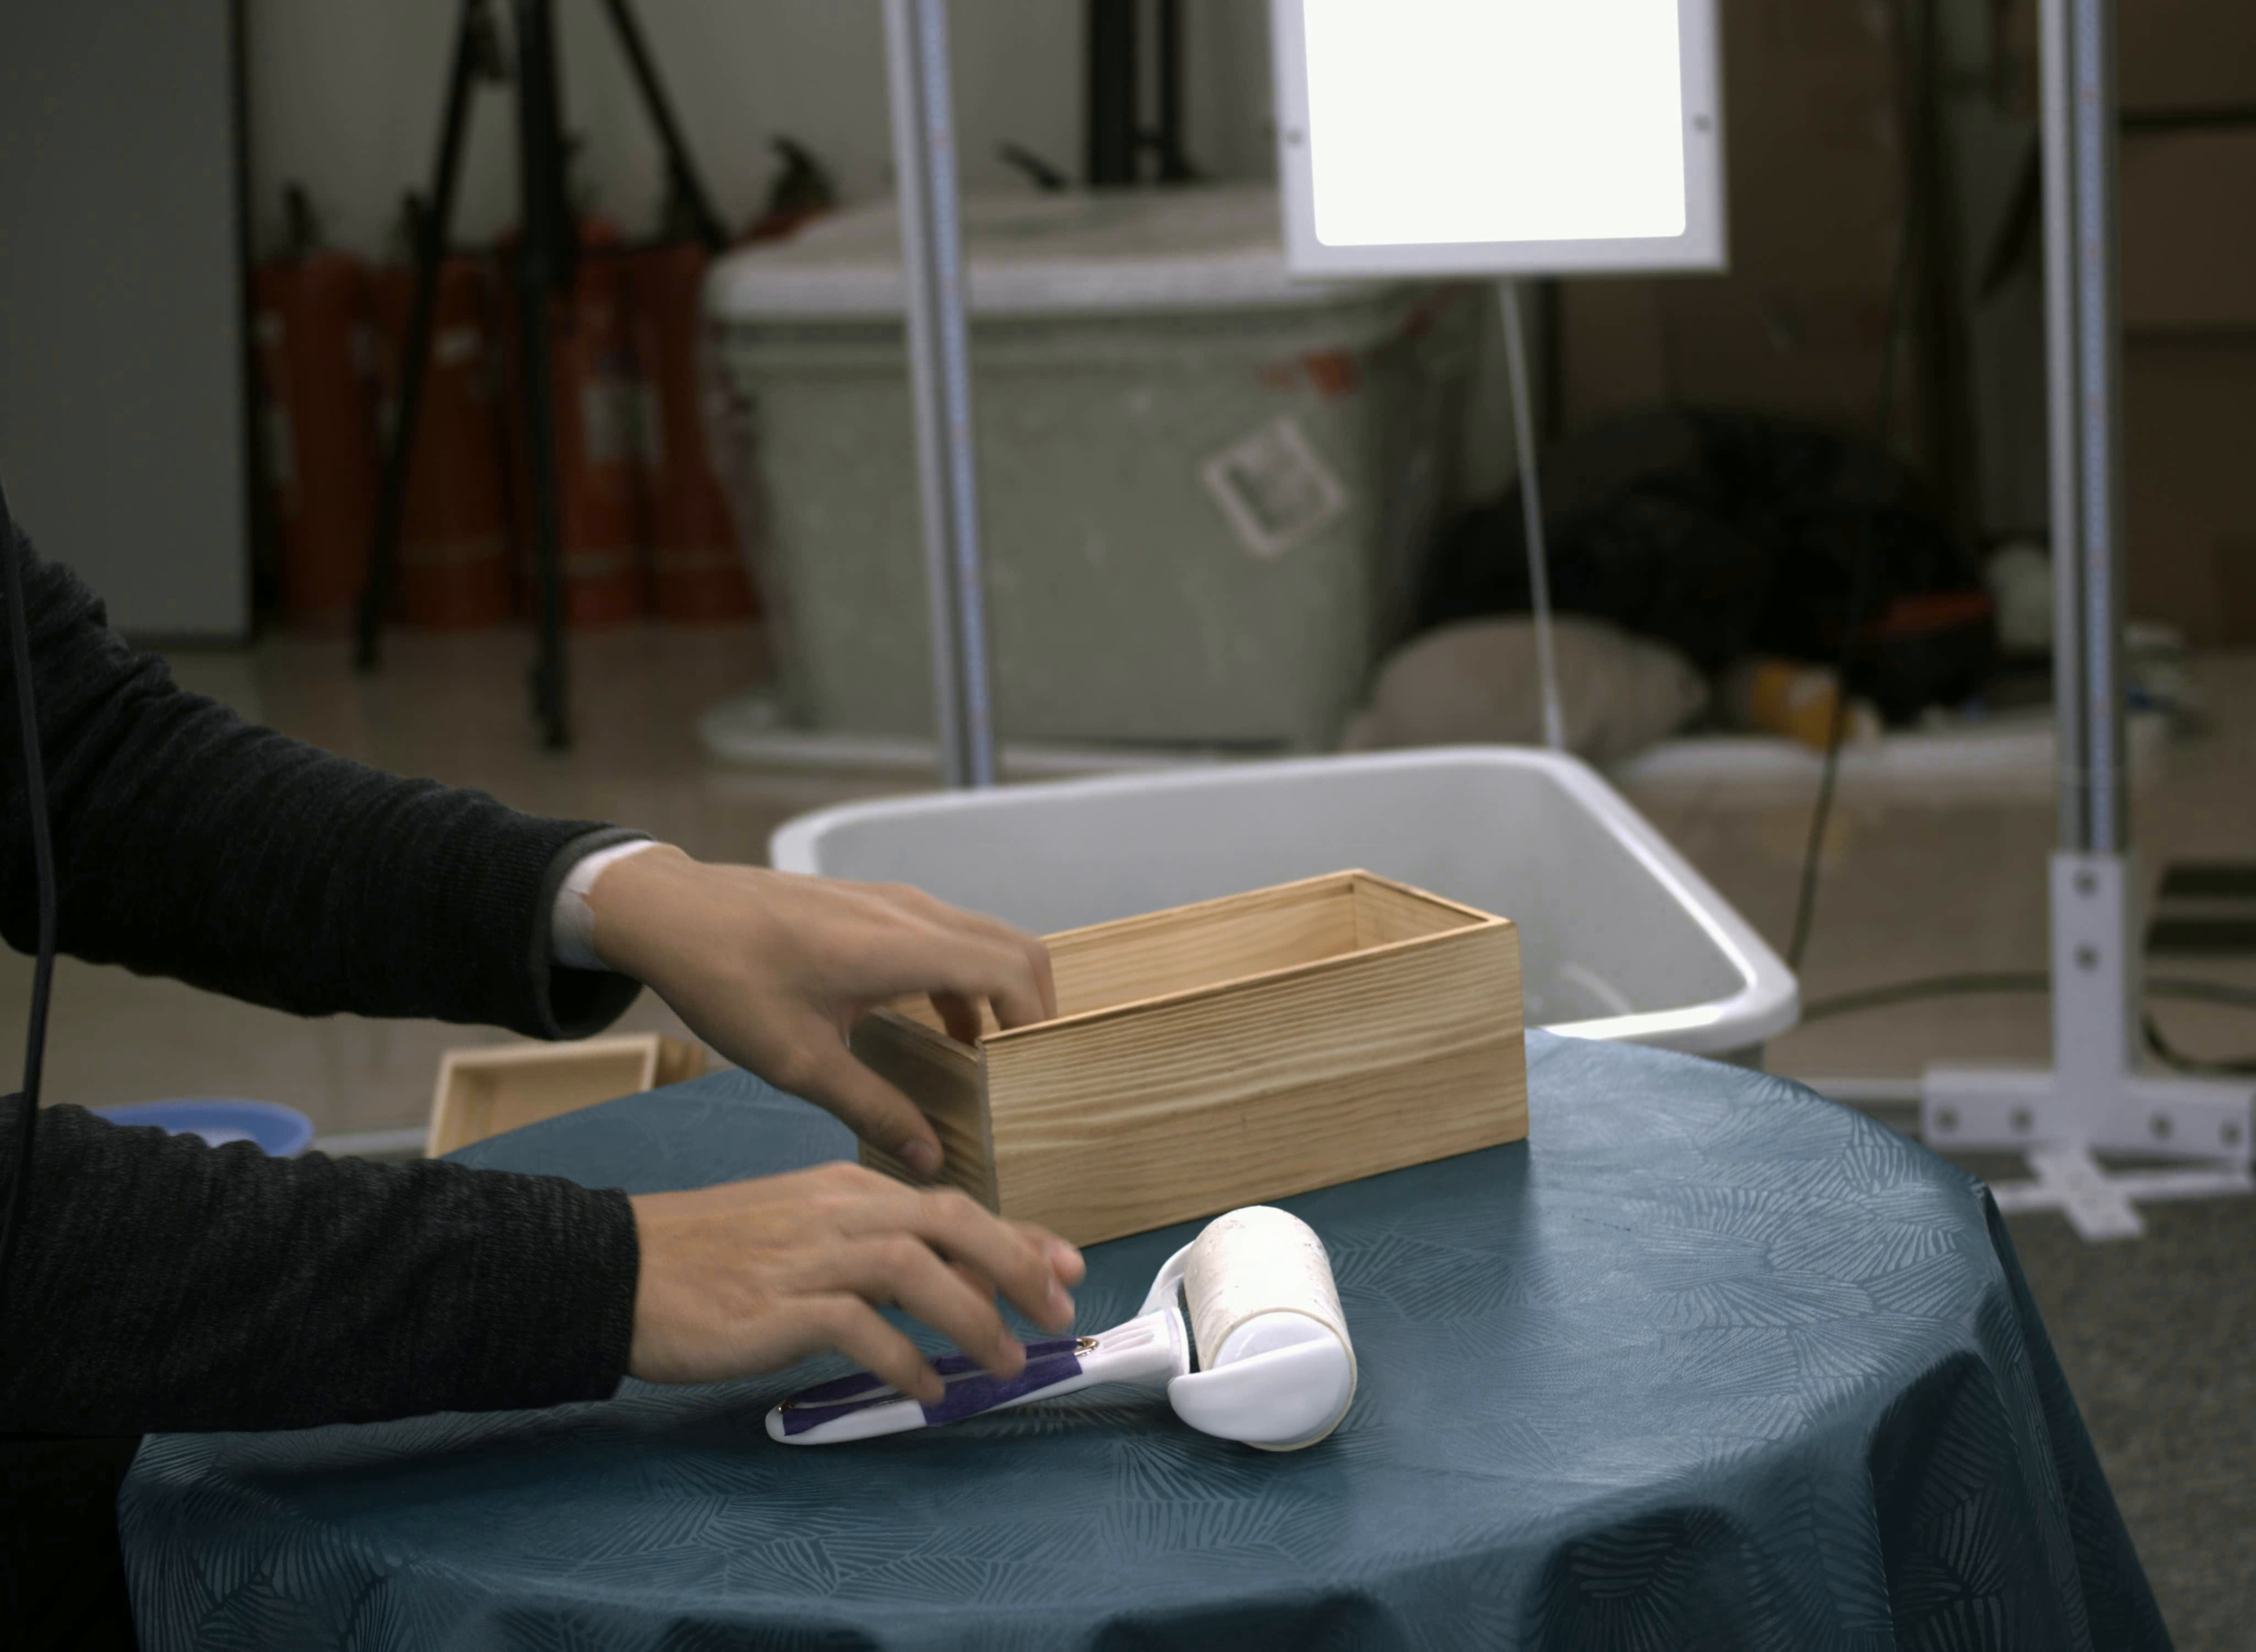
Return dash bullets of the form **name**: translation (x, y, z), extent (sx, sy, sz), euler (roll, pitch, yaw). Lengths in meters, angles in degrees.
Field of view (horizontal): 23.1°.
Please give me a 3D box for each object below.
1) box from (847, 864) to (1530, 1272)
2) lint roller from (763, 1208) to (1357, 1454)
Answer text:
- **box**: translation (0.022, 0.081, 1.909), extent (0.207, 0.080, 0.109), euler (-13, 16, -26)
- **lint roller**: translation (-0.022, 0.157, 1.682), extent (0.180, 0.050, 0.132), euler (-3, 15, 1)
